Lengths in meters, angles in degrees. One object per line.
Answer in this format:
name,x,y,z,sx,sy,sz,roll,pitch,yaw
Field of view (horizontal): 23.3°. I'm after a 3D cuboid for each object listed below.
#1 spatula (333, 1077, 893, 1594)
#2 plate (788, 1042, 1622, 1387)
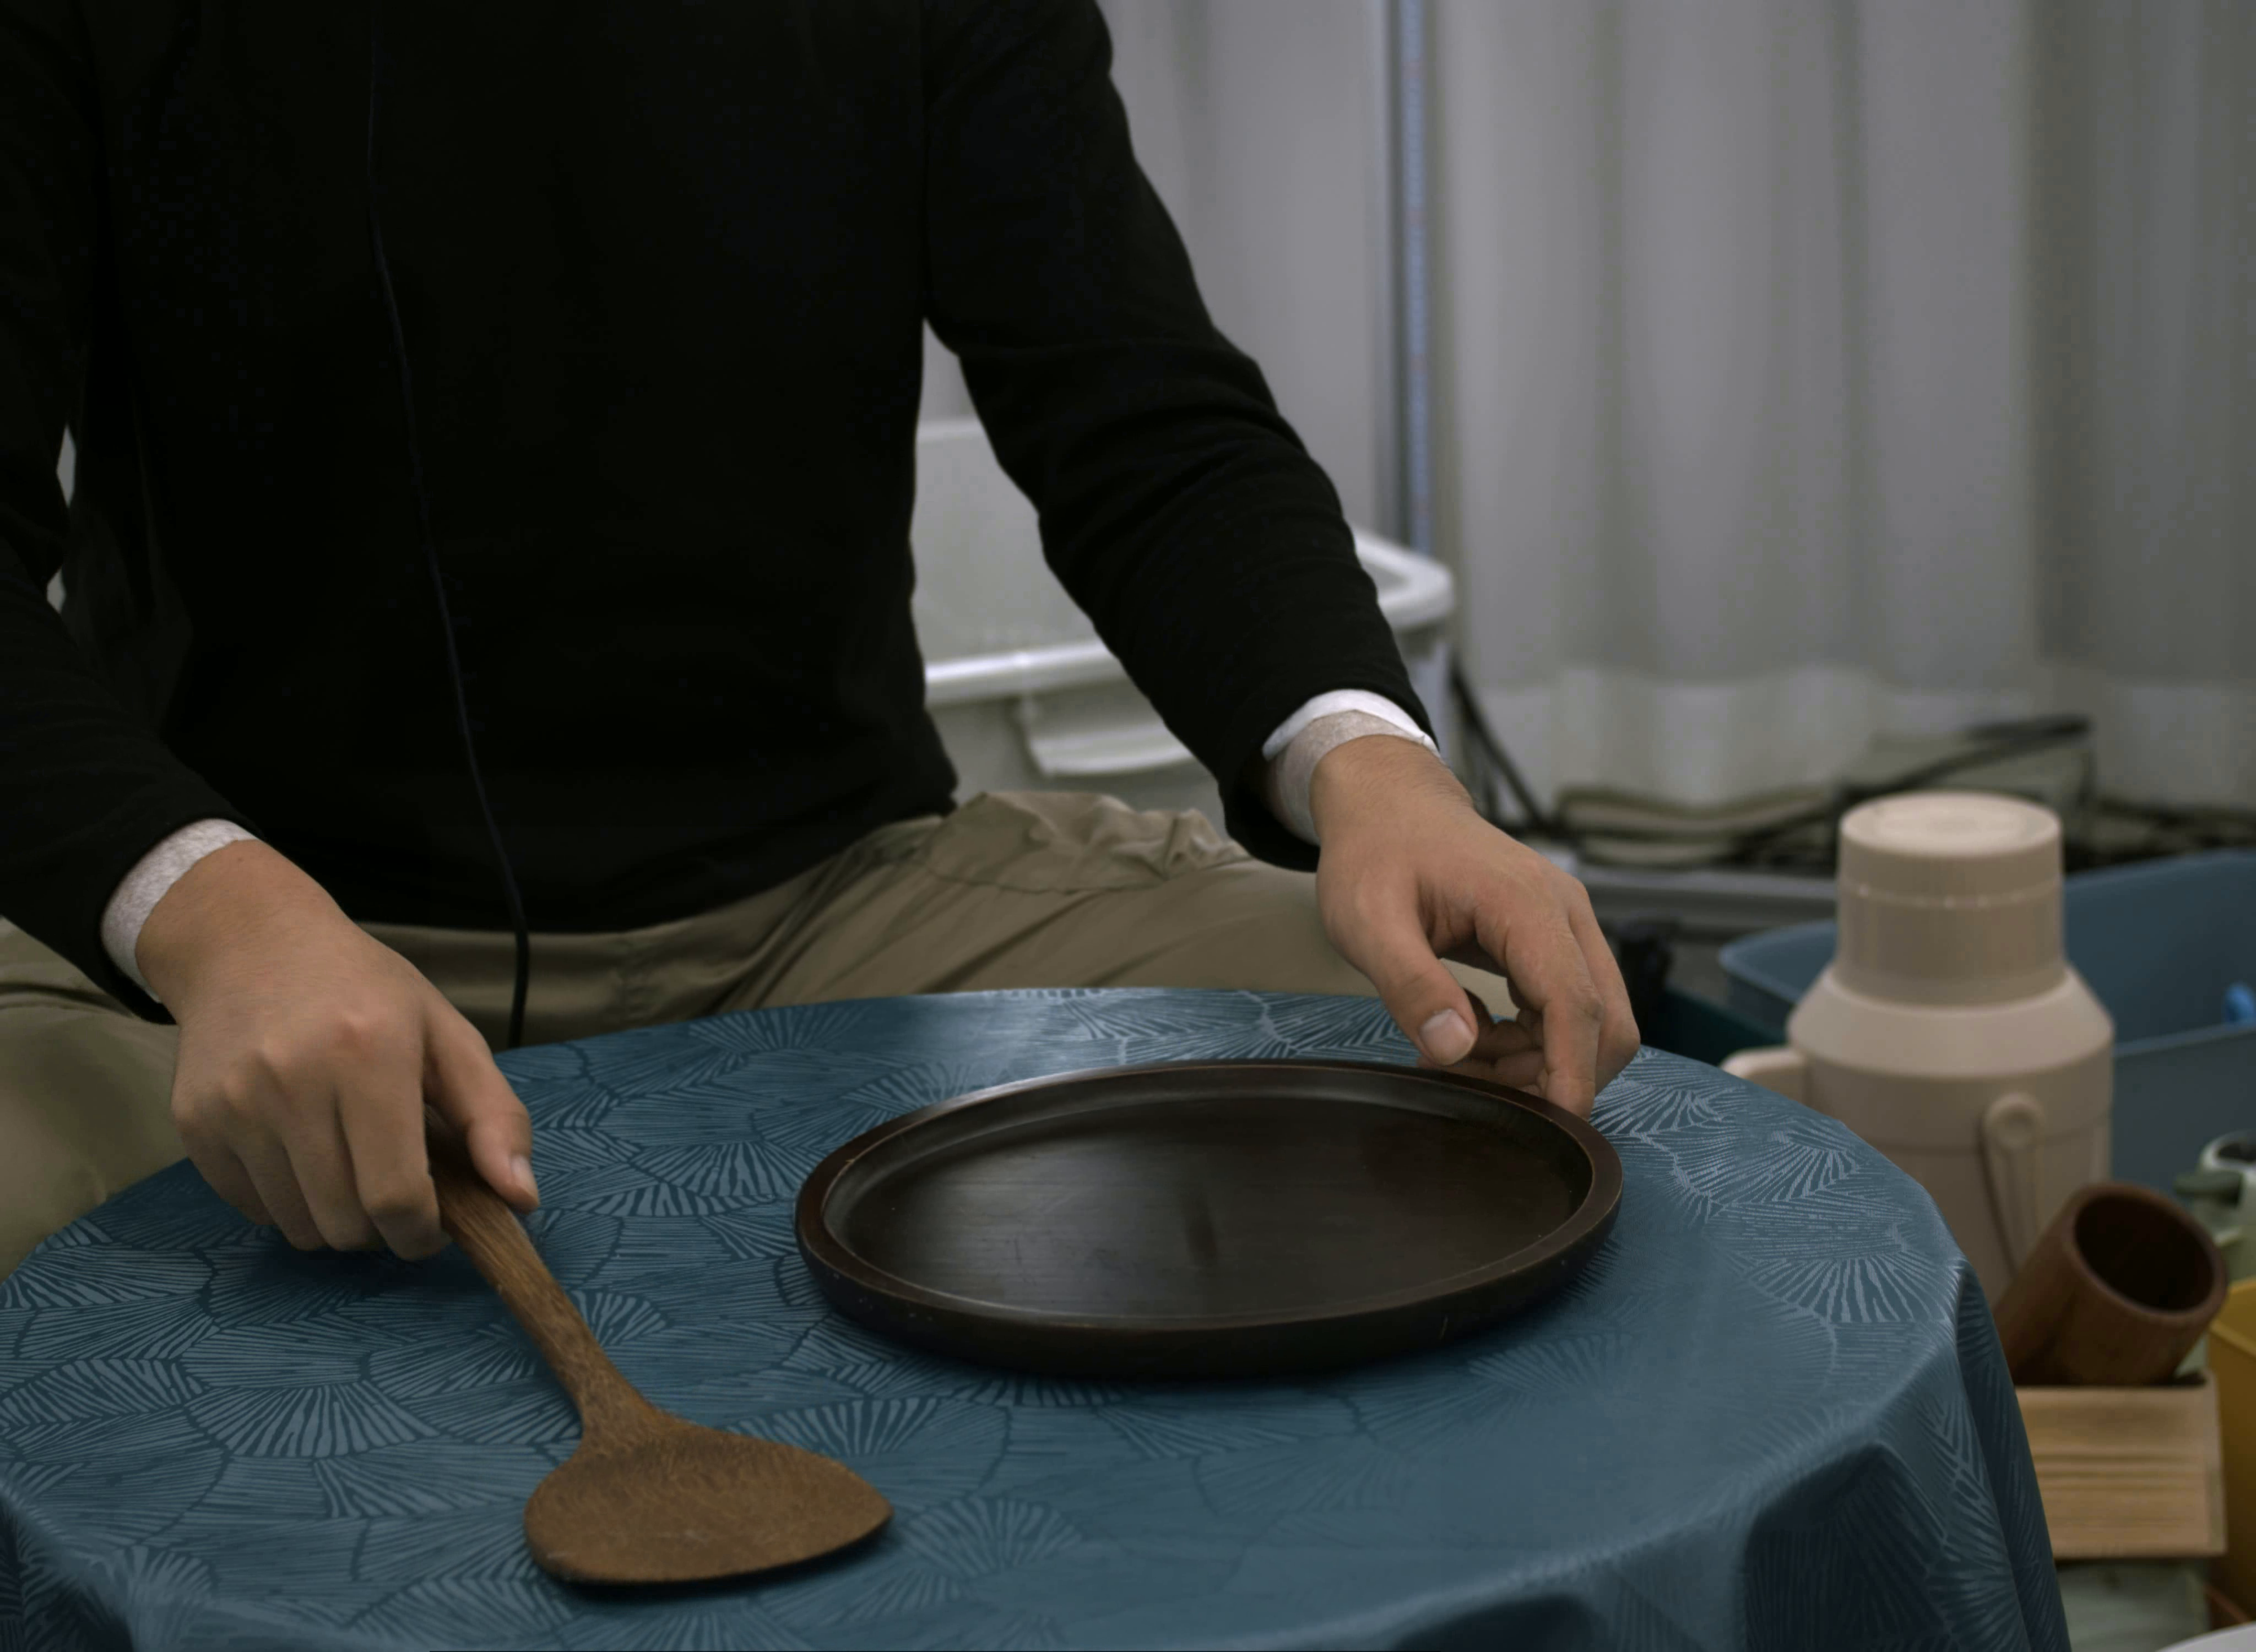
spatula,-0.172,0.139,1.586,0.095,0.015,0.390,-8,21,-21
plate,0.023,0.117,1.653,0.254,0.029,0.256,-4,15,1
